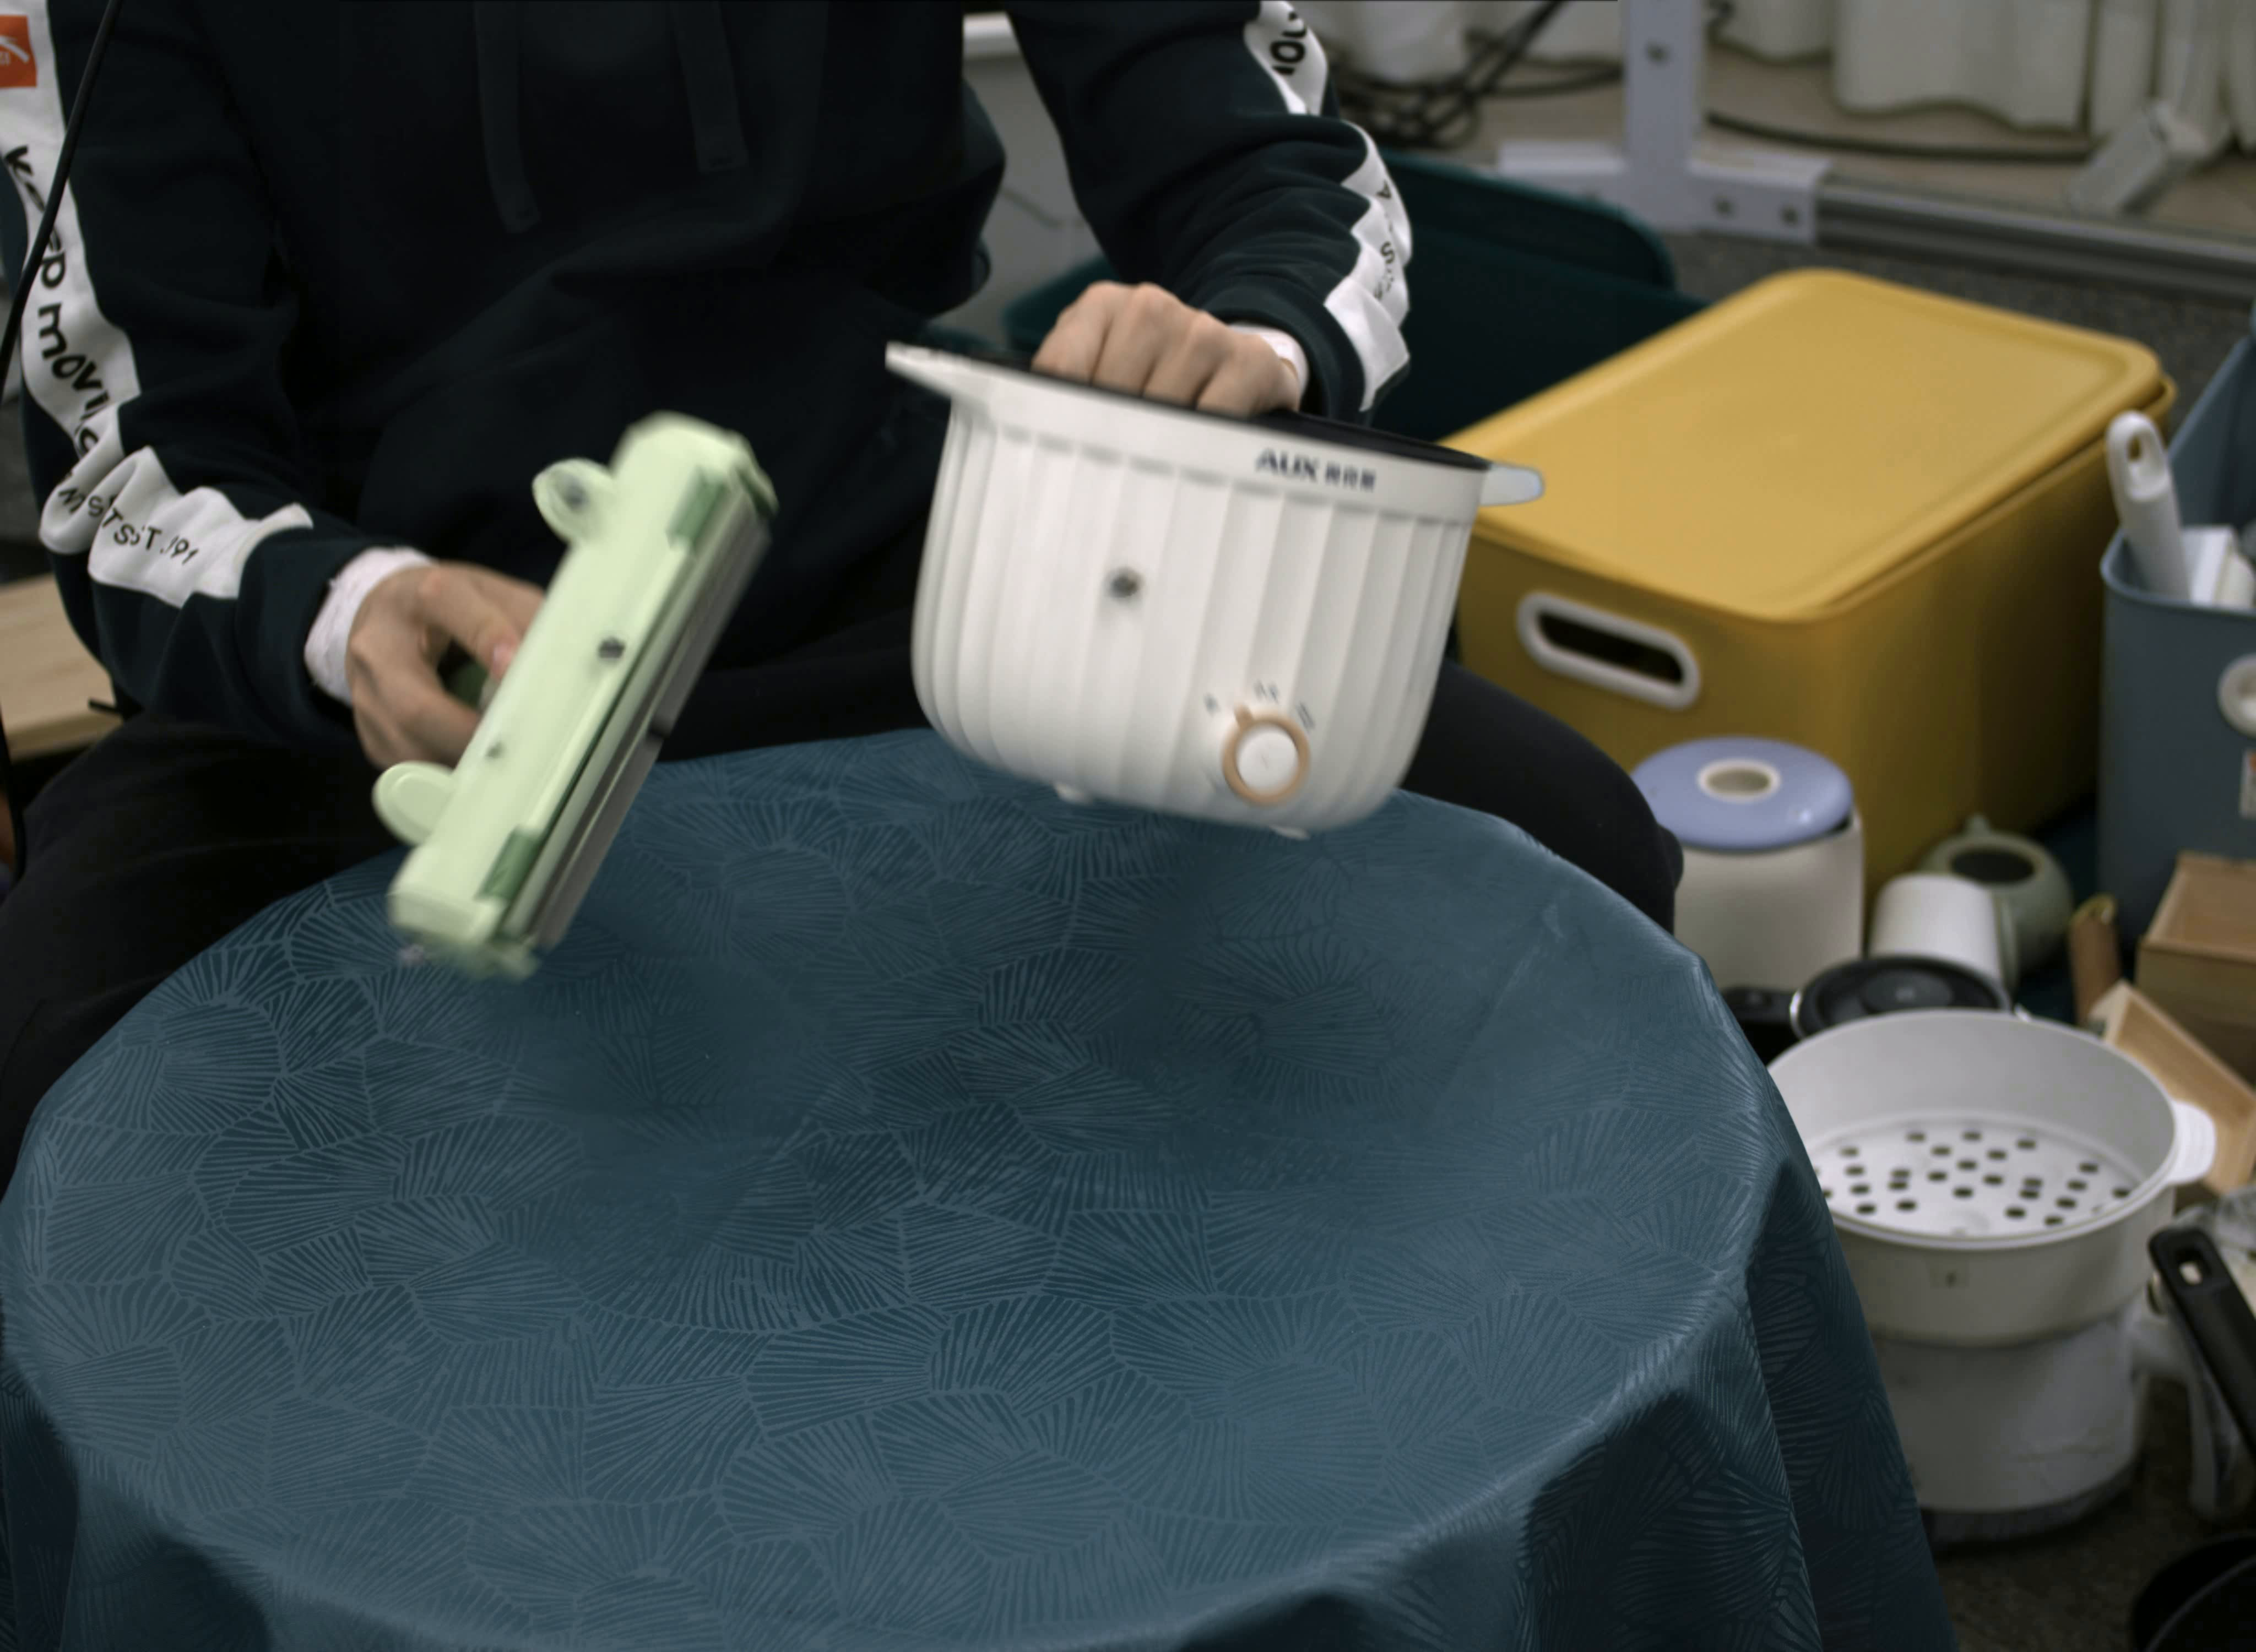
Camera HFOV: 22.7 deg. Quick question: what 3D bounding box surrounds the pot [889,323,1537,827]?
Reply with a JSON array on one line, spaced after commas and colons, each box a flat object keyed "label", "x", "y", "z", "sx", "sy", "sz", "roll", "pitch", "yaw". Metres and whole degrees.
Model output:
[{"label": "pot", "x": 0.020, "y": -0.080, "z": 1.891, "sx": 0.240, "sy": 0.143, "sz": 0.190, "roll": 11, "pitch": 1, "yaw": -22}]

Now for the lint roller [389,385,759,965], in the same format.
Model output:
[{"label": "lint roller", "x": -0.216, "y": -0.055, "z": 1.919, "sx": 0.082, "sy": 0.201, "sz": 0.182, "roll": 30, "pitch": -15, "yaw": -32}]
